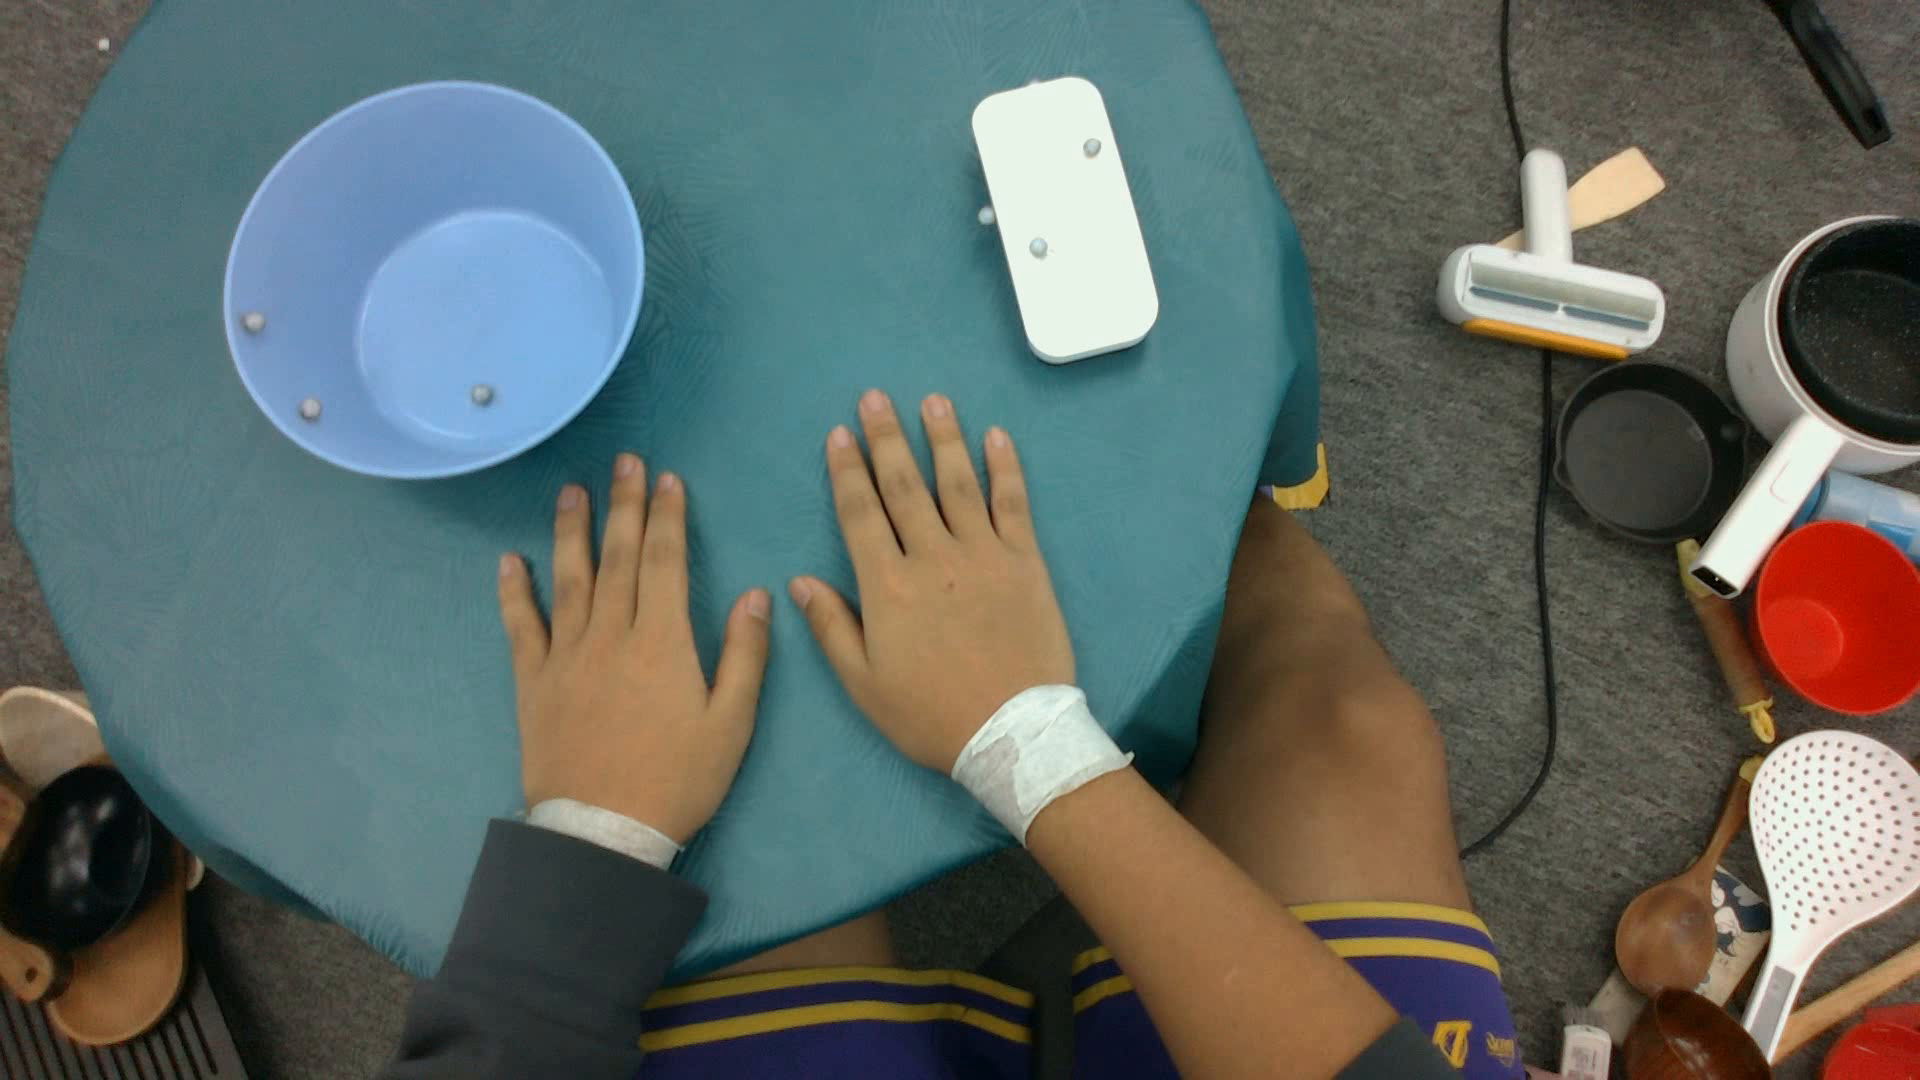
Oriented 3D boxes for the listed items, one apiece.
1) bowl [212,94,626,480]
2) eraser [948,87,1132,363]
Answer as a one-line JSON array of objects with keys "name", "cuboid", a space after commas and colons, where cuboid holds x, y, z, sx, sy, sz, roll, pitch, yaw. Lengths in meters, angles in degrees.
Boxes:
[{"name": "bowl", "cuboid": [-0.228, -0.103, 0.611, 0.176, 0.070, 0.176, 0, 76, 2]}, {"name": "eraser", "cuboid": [0.035, -0.147, 0.640, 0.063, 0.034, 0.131, -13, 74, -1]}]
